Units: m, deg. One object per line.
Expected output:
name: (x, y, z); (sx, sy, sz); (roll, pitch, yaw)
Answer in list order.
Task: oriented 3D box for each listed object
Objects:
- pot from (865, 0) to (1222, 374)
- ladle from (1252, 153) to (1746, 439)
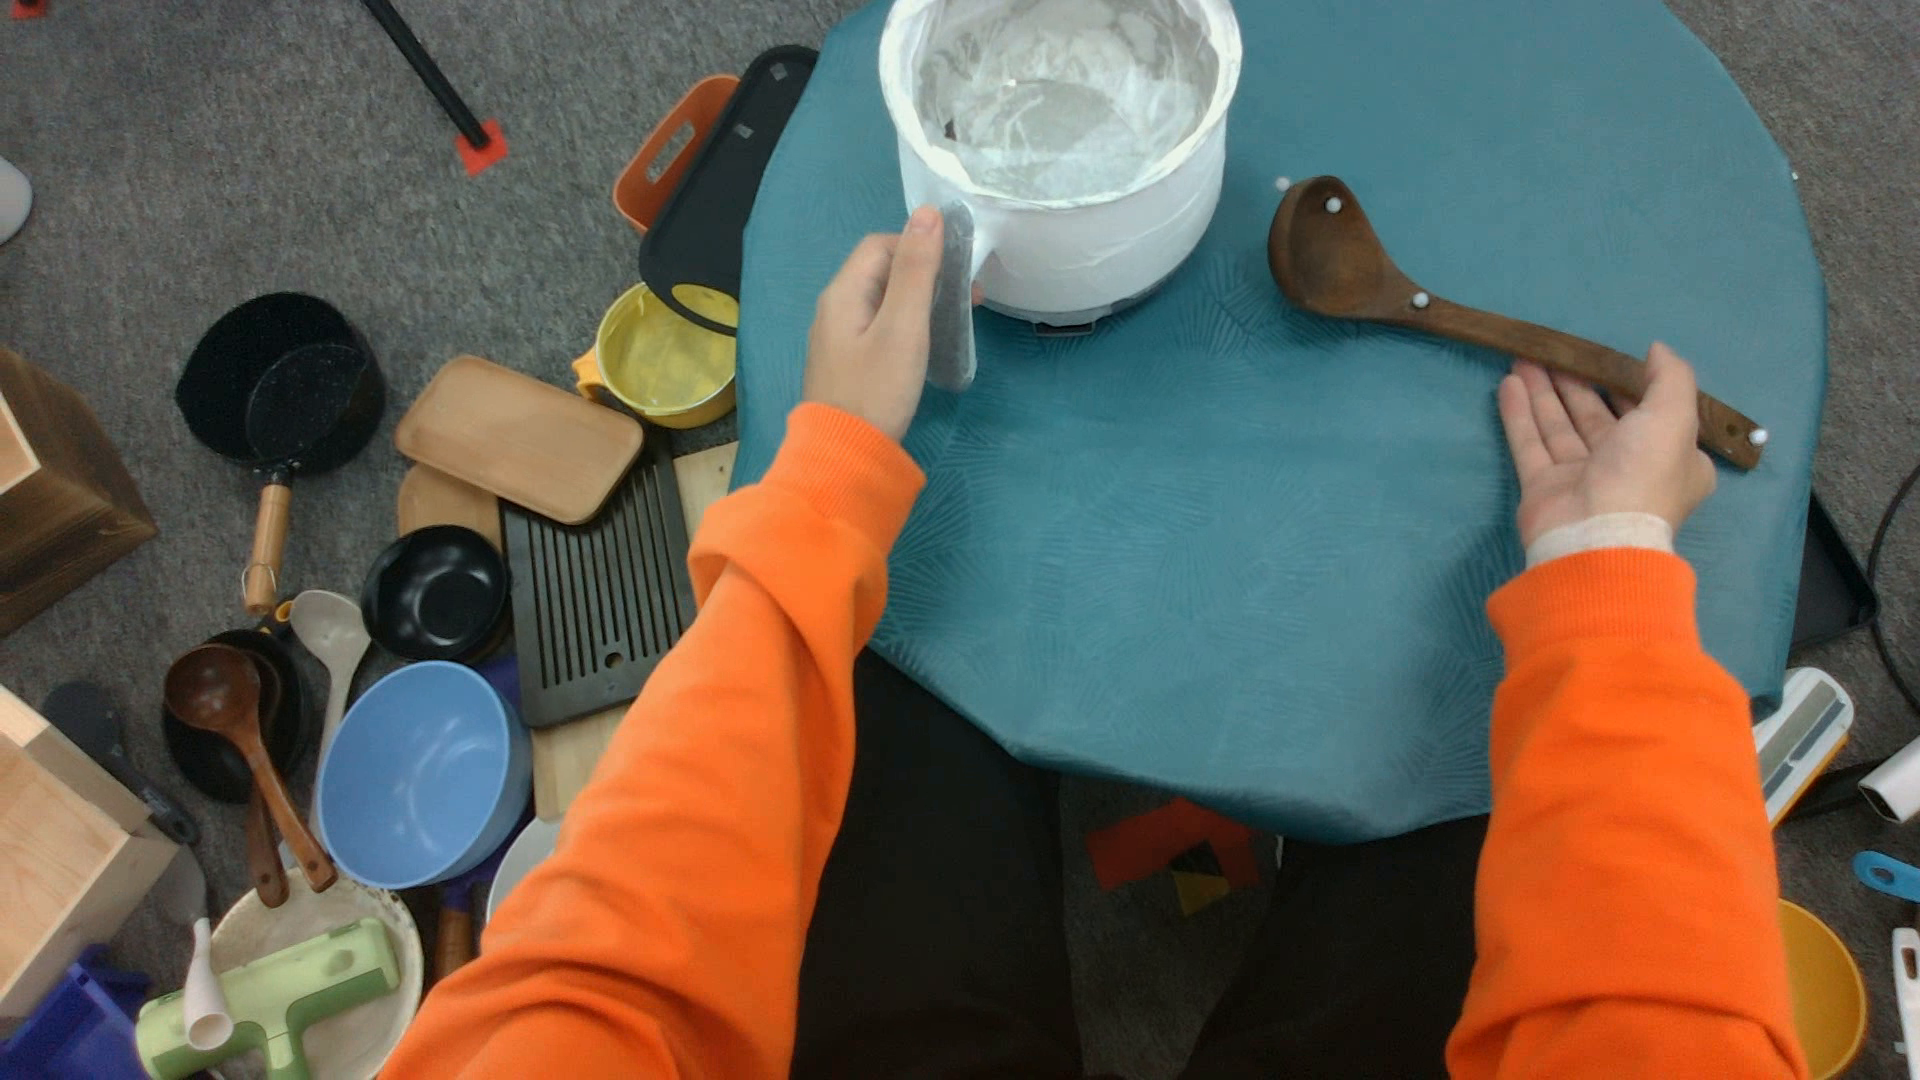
pot: (0.032, -0.203, 0.731); (0.178, 0.136, 0.234); (25, 74, 13)
ladle: (0.284, -0.126, 0.719); (0.274, 0.071, 0.076); (24, 74, 13)
